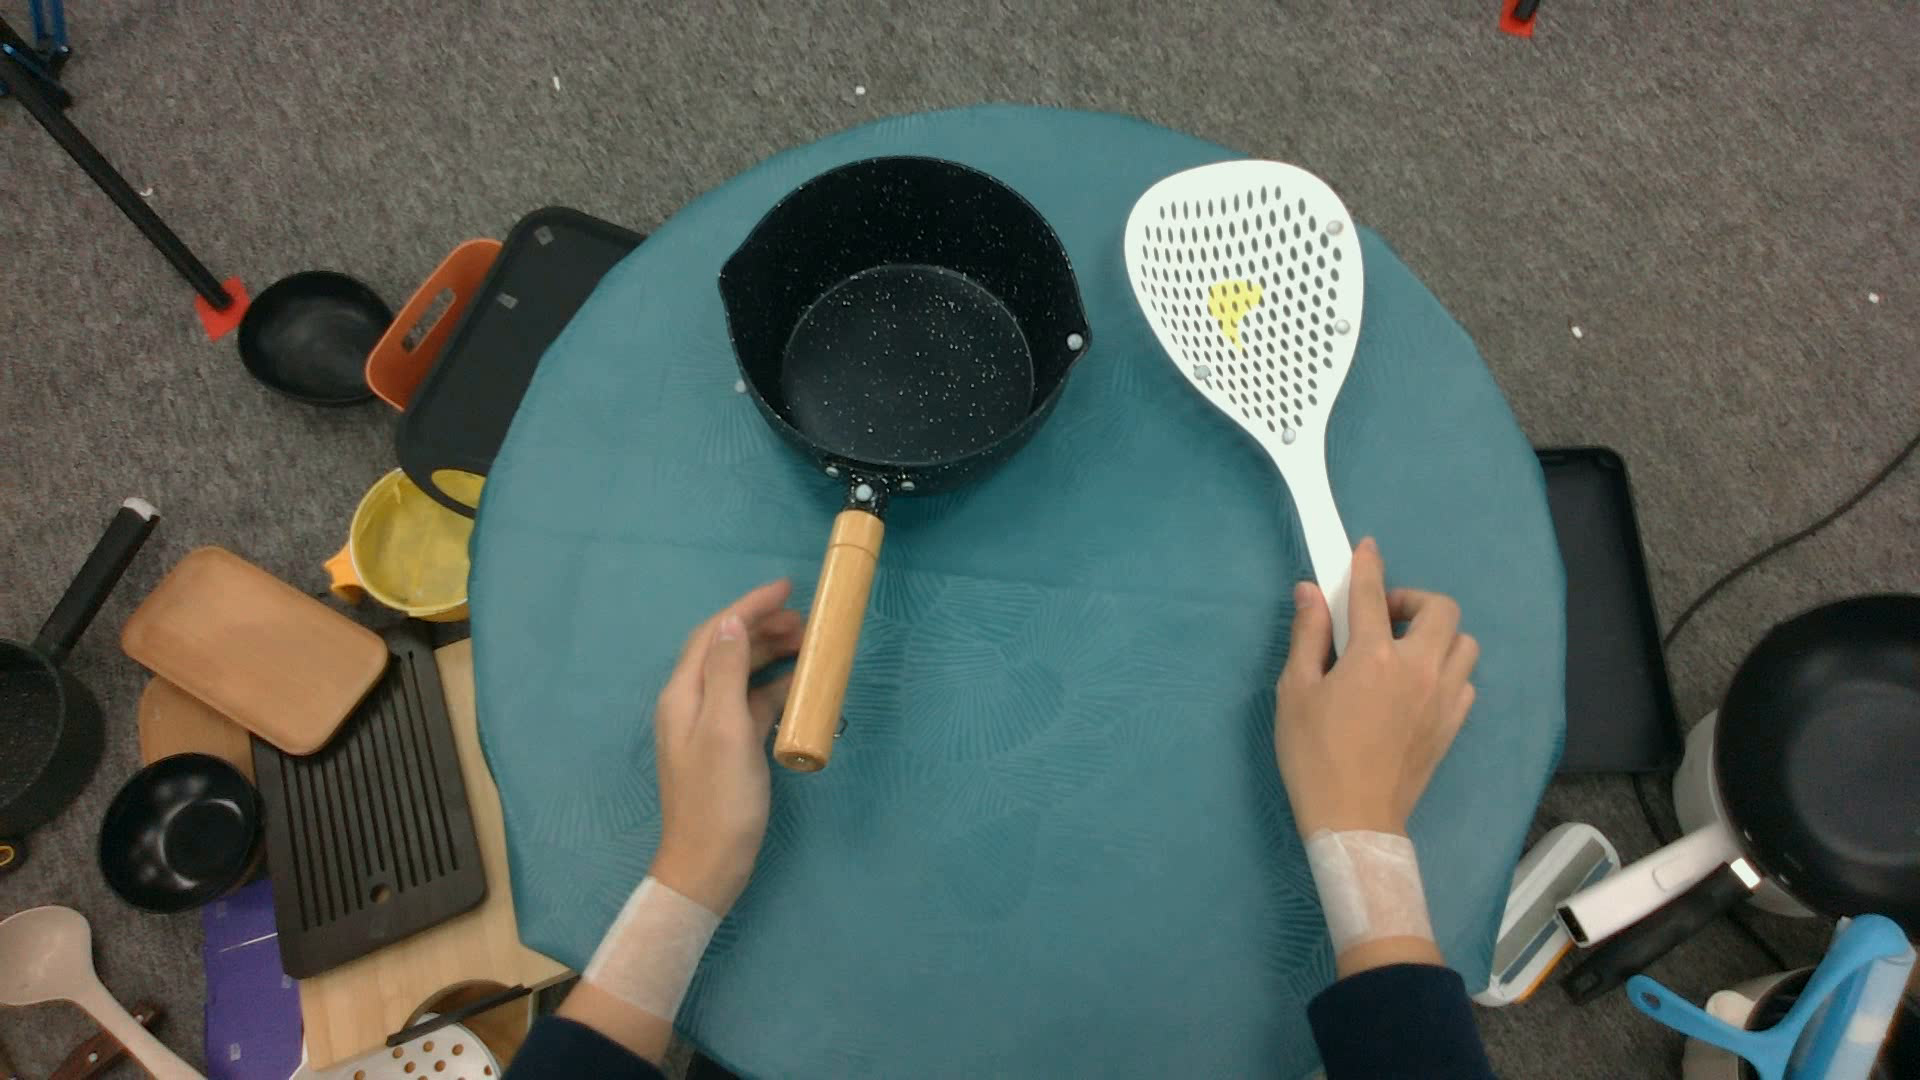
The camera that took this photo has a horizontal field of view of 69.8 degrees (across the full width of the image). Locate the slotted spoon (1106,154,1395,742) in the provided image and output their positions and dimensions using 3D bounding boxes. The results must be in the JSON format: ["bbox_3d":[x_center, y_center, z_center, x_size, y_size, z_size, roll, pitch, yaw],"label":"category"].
[{"bbox_3d":[0.176,-0.059,0.766,0.137,0.050,0.349,-11,69,-10],"label":"slotted spoon"}]

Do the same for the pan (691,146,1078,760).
[{"bbox_3d":[-0.052,-0.044,0.718,0.207,0.108,0.344,9,68,1],"label":"pan"}]
